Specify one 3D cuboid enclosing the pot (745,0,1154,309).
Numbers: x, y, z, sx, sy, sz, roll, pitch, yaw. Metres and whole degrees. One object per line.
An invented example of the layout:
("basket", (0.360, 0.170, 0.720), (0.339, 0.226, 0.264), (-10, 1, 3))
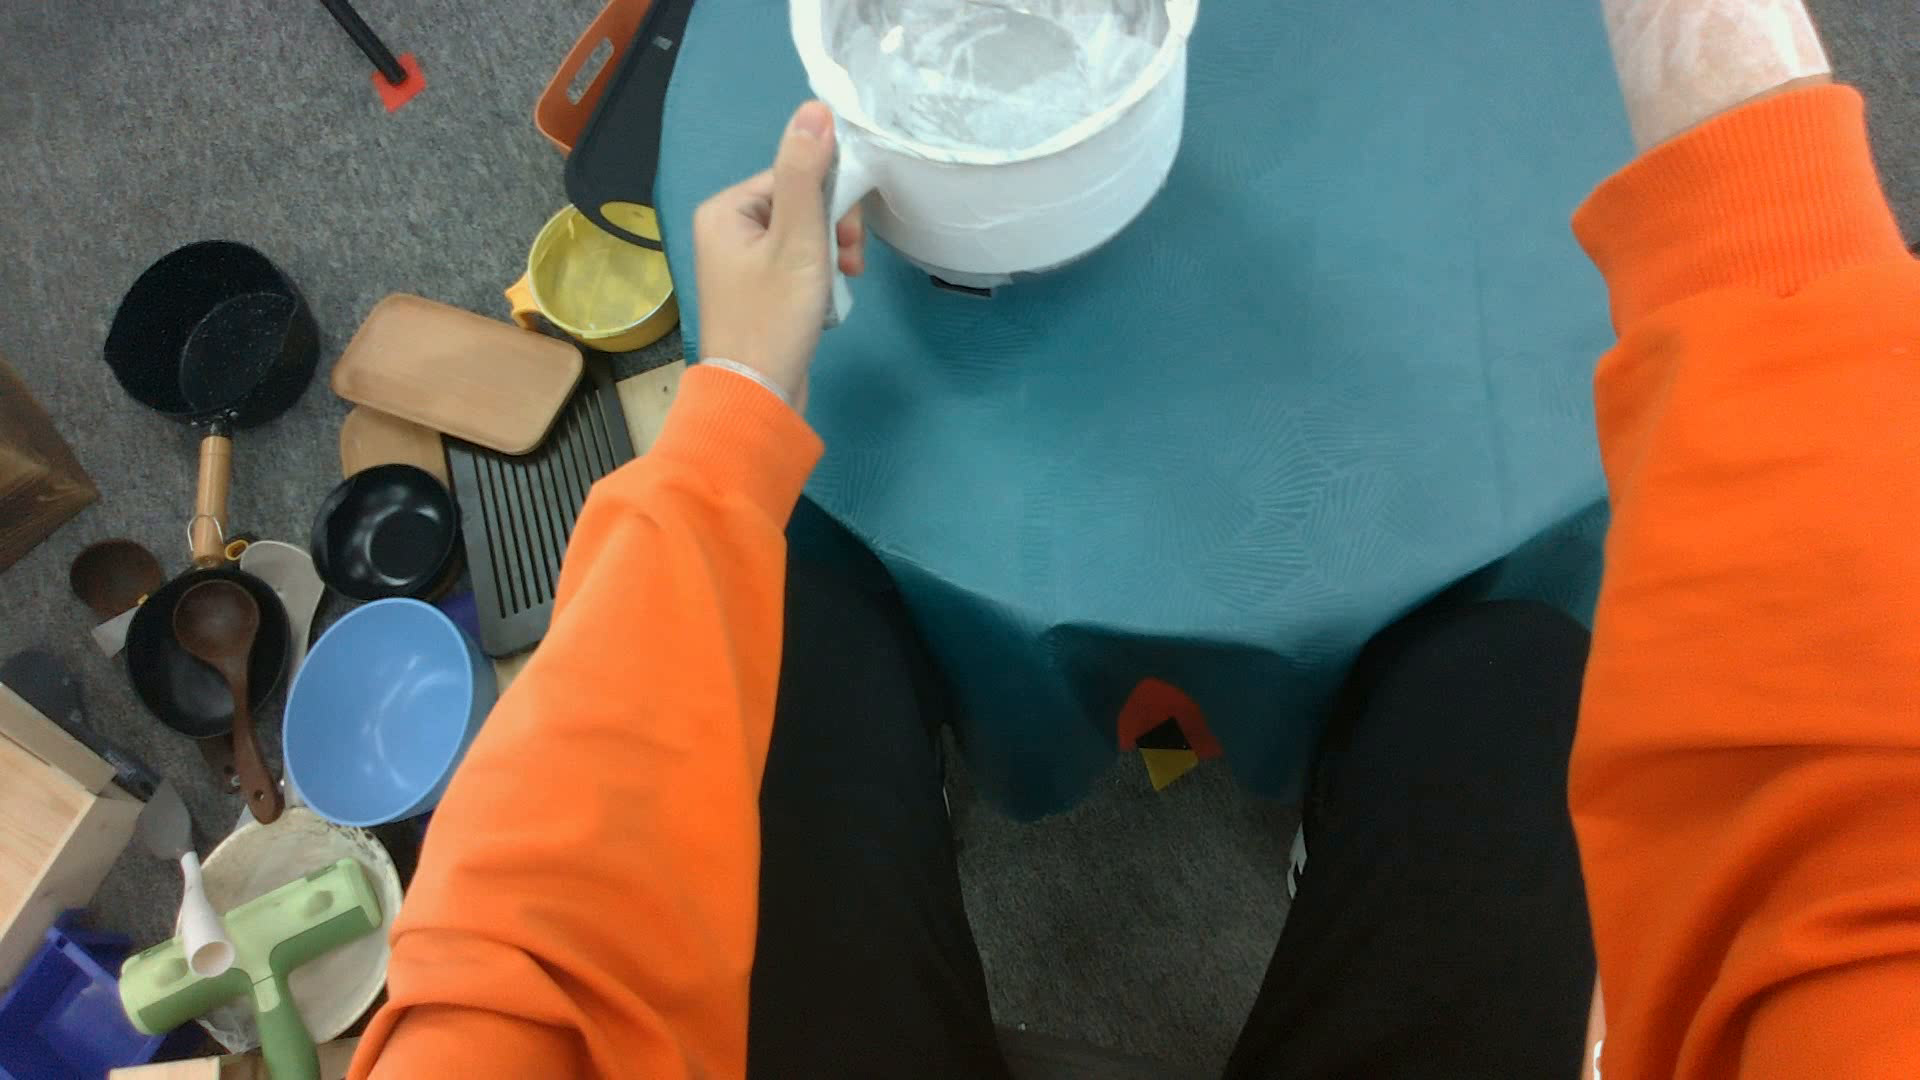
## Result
("pot", (-0.014, -0.213, 0.651), (0.179, 0.136, 0.234), (40, 80, 14))
